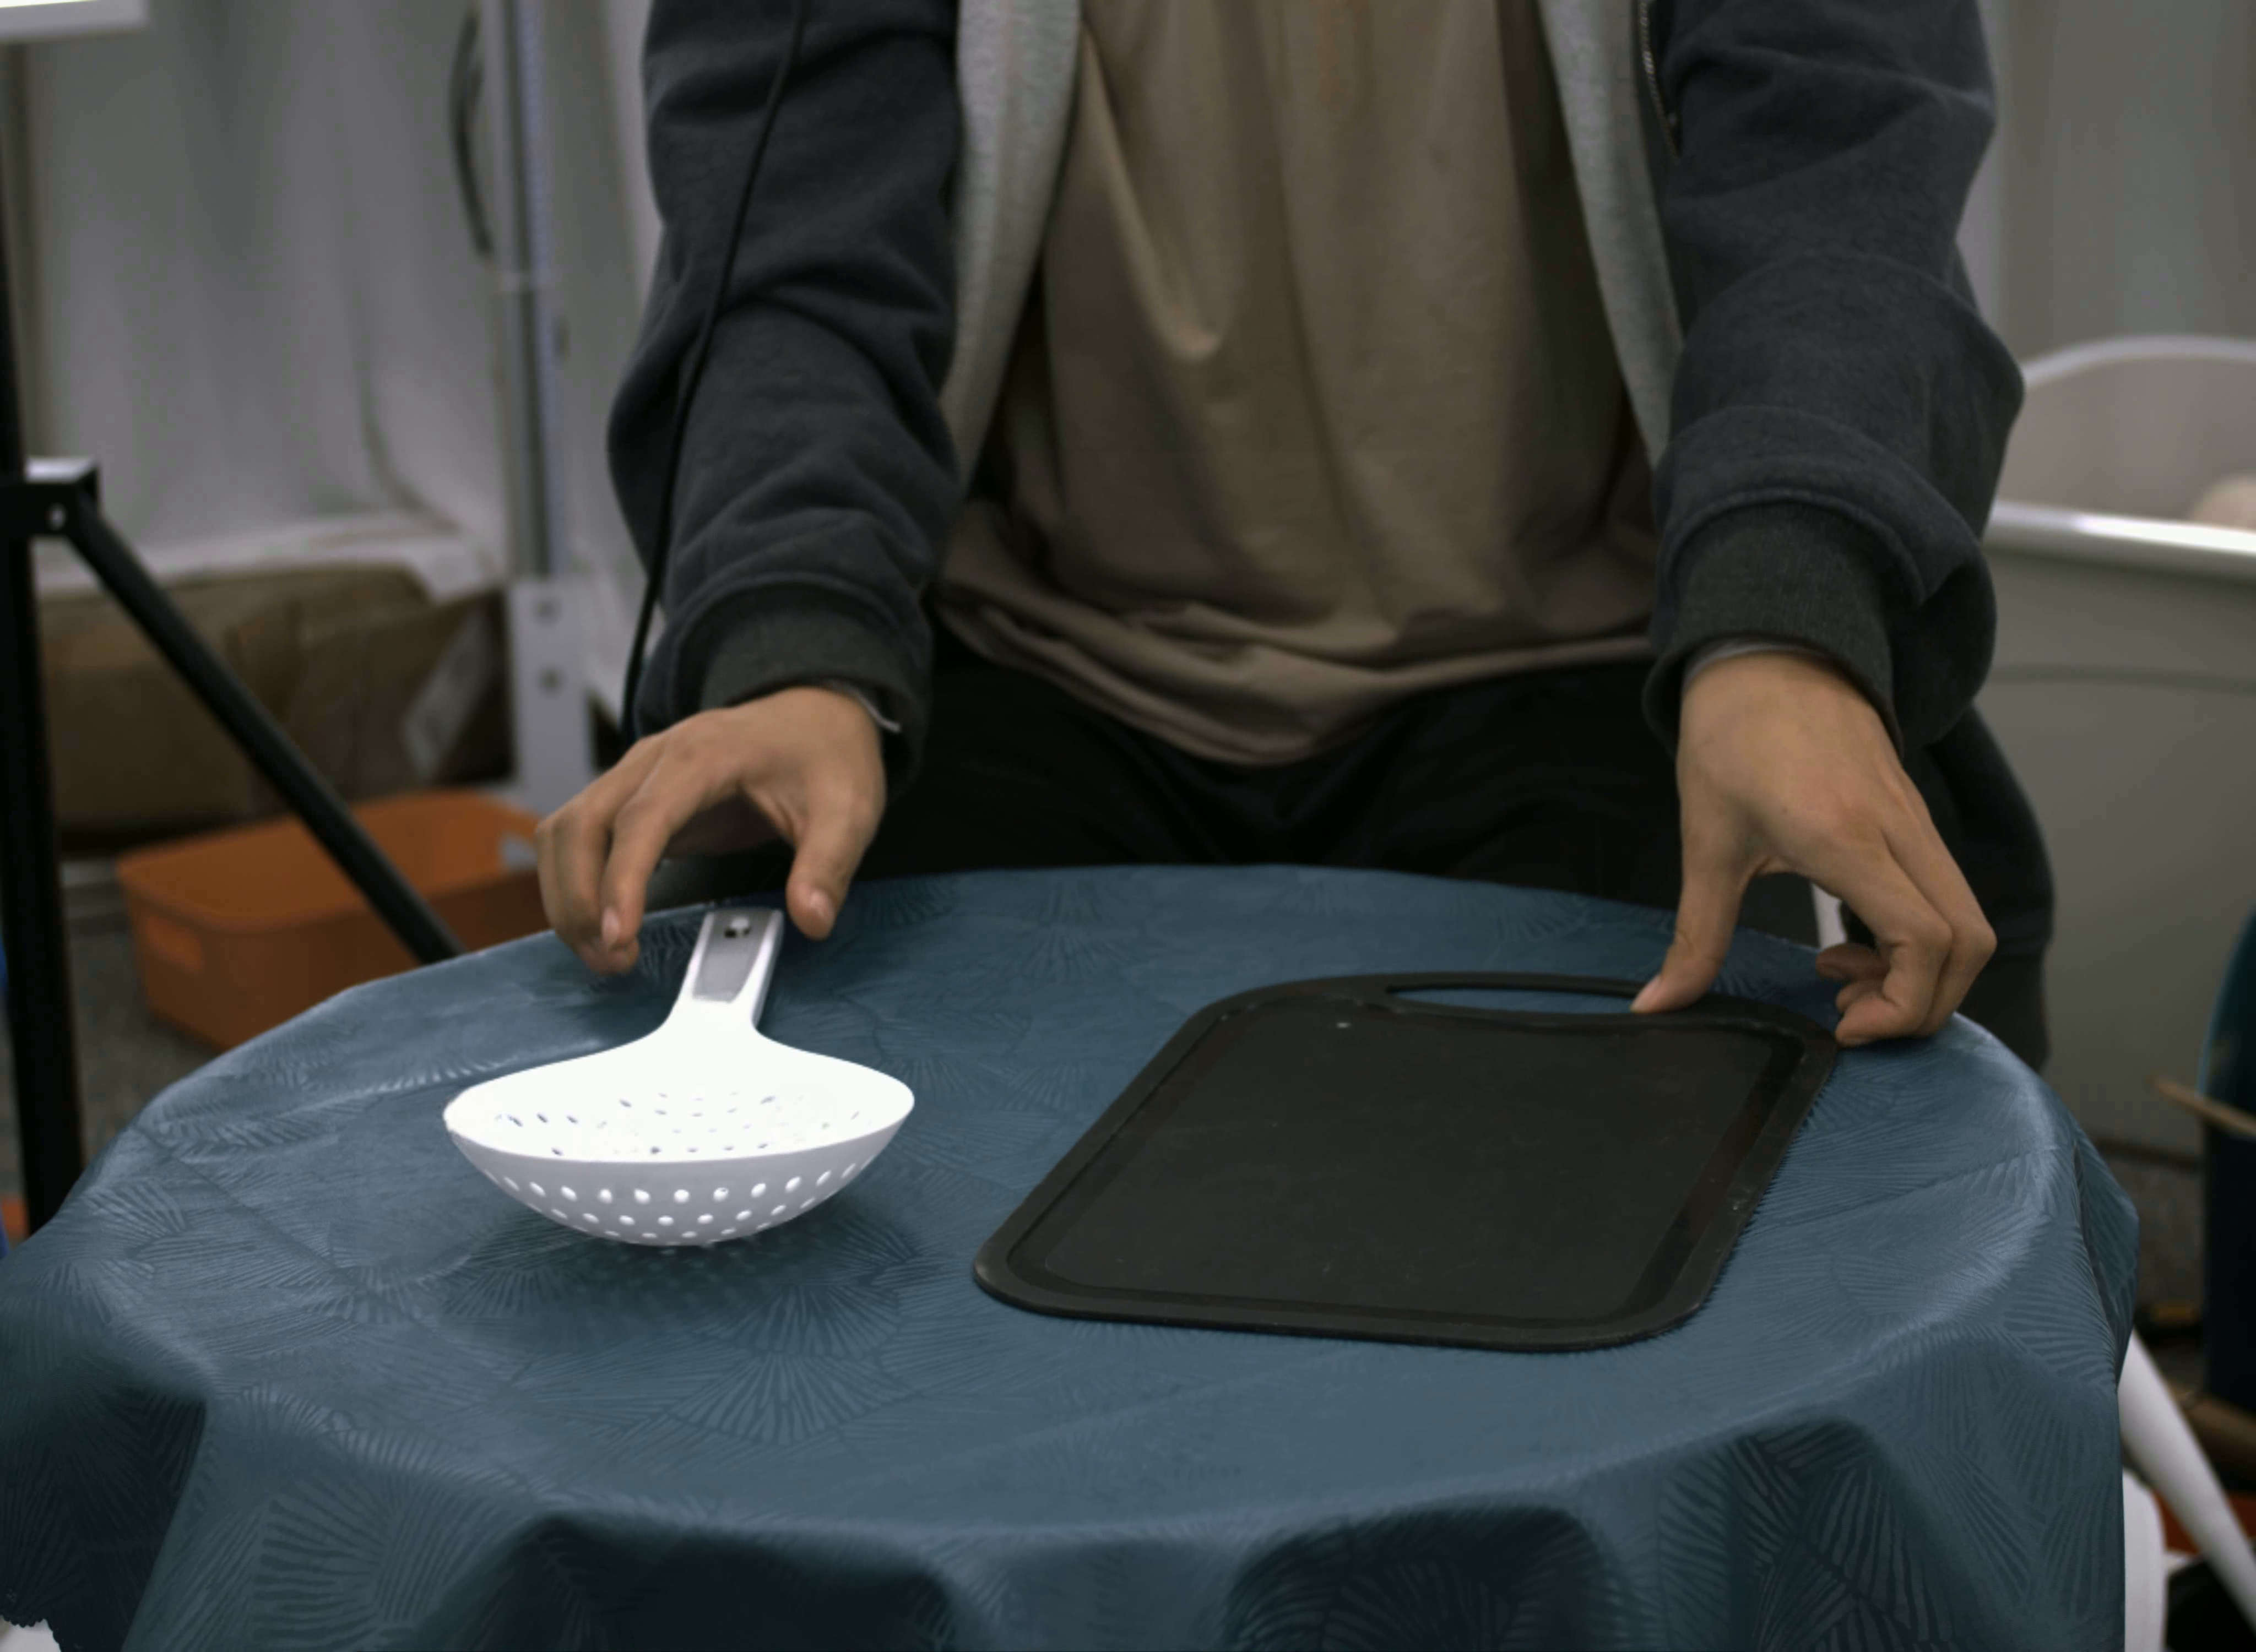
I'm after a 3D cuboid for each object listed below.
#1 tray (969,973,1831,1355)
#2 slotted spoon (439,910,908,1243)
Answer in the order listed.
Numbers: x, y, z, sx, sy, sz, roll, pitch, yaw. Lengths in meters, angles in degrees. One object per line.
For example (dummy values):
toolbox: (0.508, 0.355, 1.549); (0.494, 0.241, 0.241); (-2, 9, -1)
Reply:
tray: (0.089, 0.093, 1.588); (0.213, 0.010, 0.322); (3, 17, 18)
slotted spoon: (-0.131, 0.067, 1.642); (0.135, 0.046, 0.351); (0, 15, 0)
